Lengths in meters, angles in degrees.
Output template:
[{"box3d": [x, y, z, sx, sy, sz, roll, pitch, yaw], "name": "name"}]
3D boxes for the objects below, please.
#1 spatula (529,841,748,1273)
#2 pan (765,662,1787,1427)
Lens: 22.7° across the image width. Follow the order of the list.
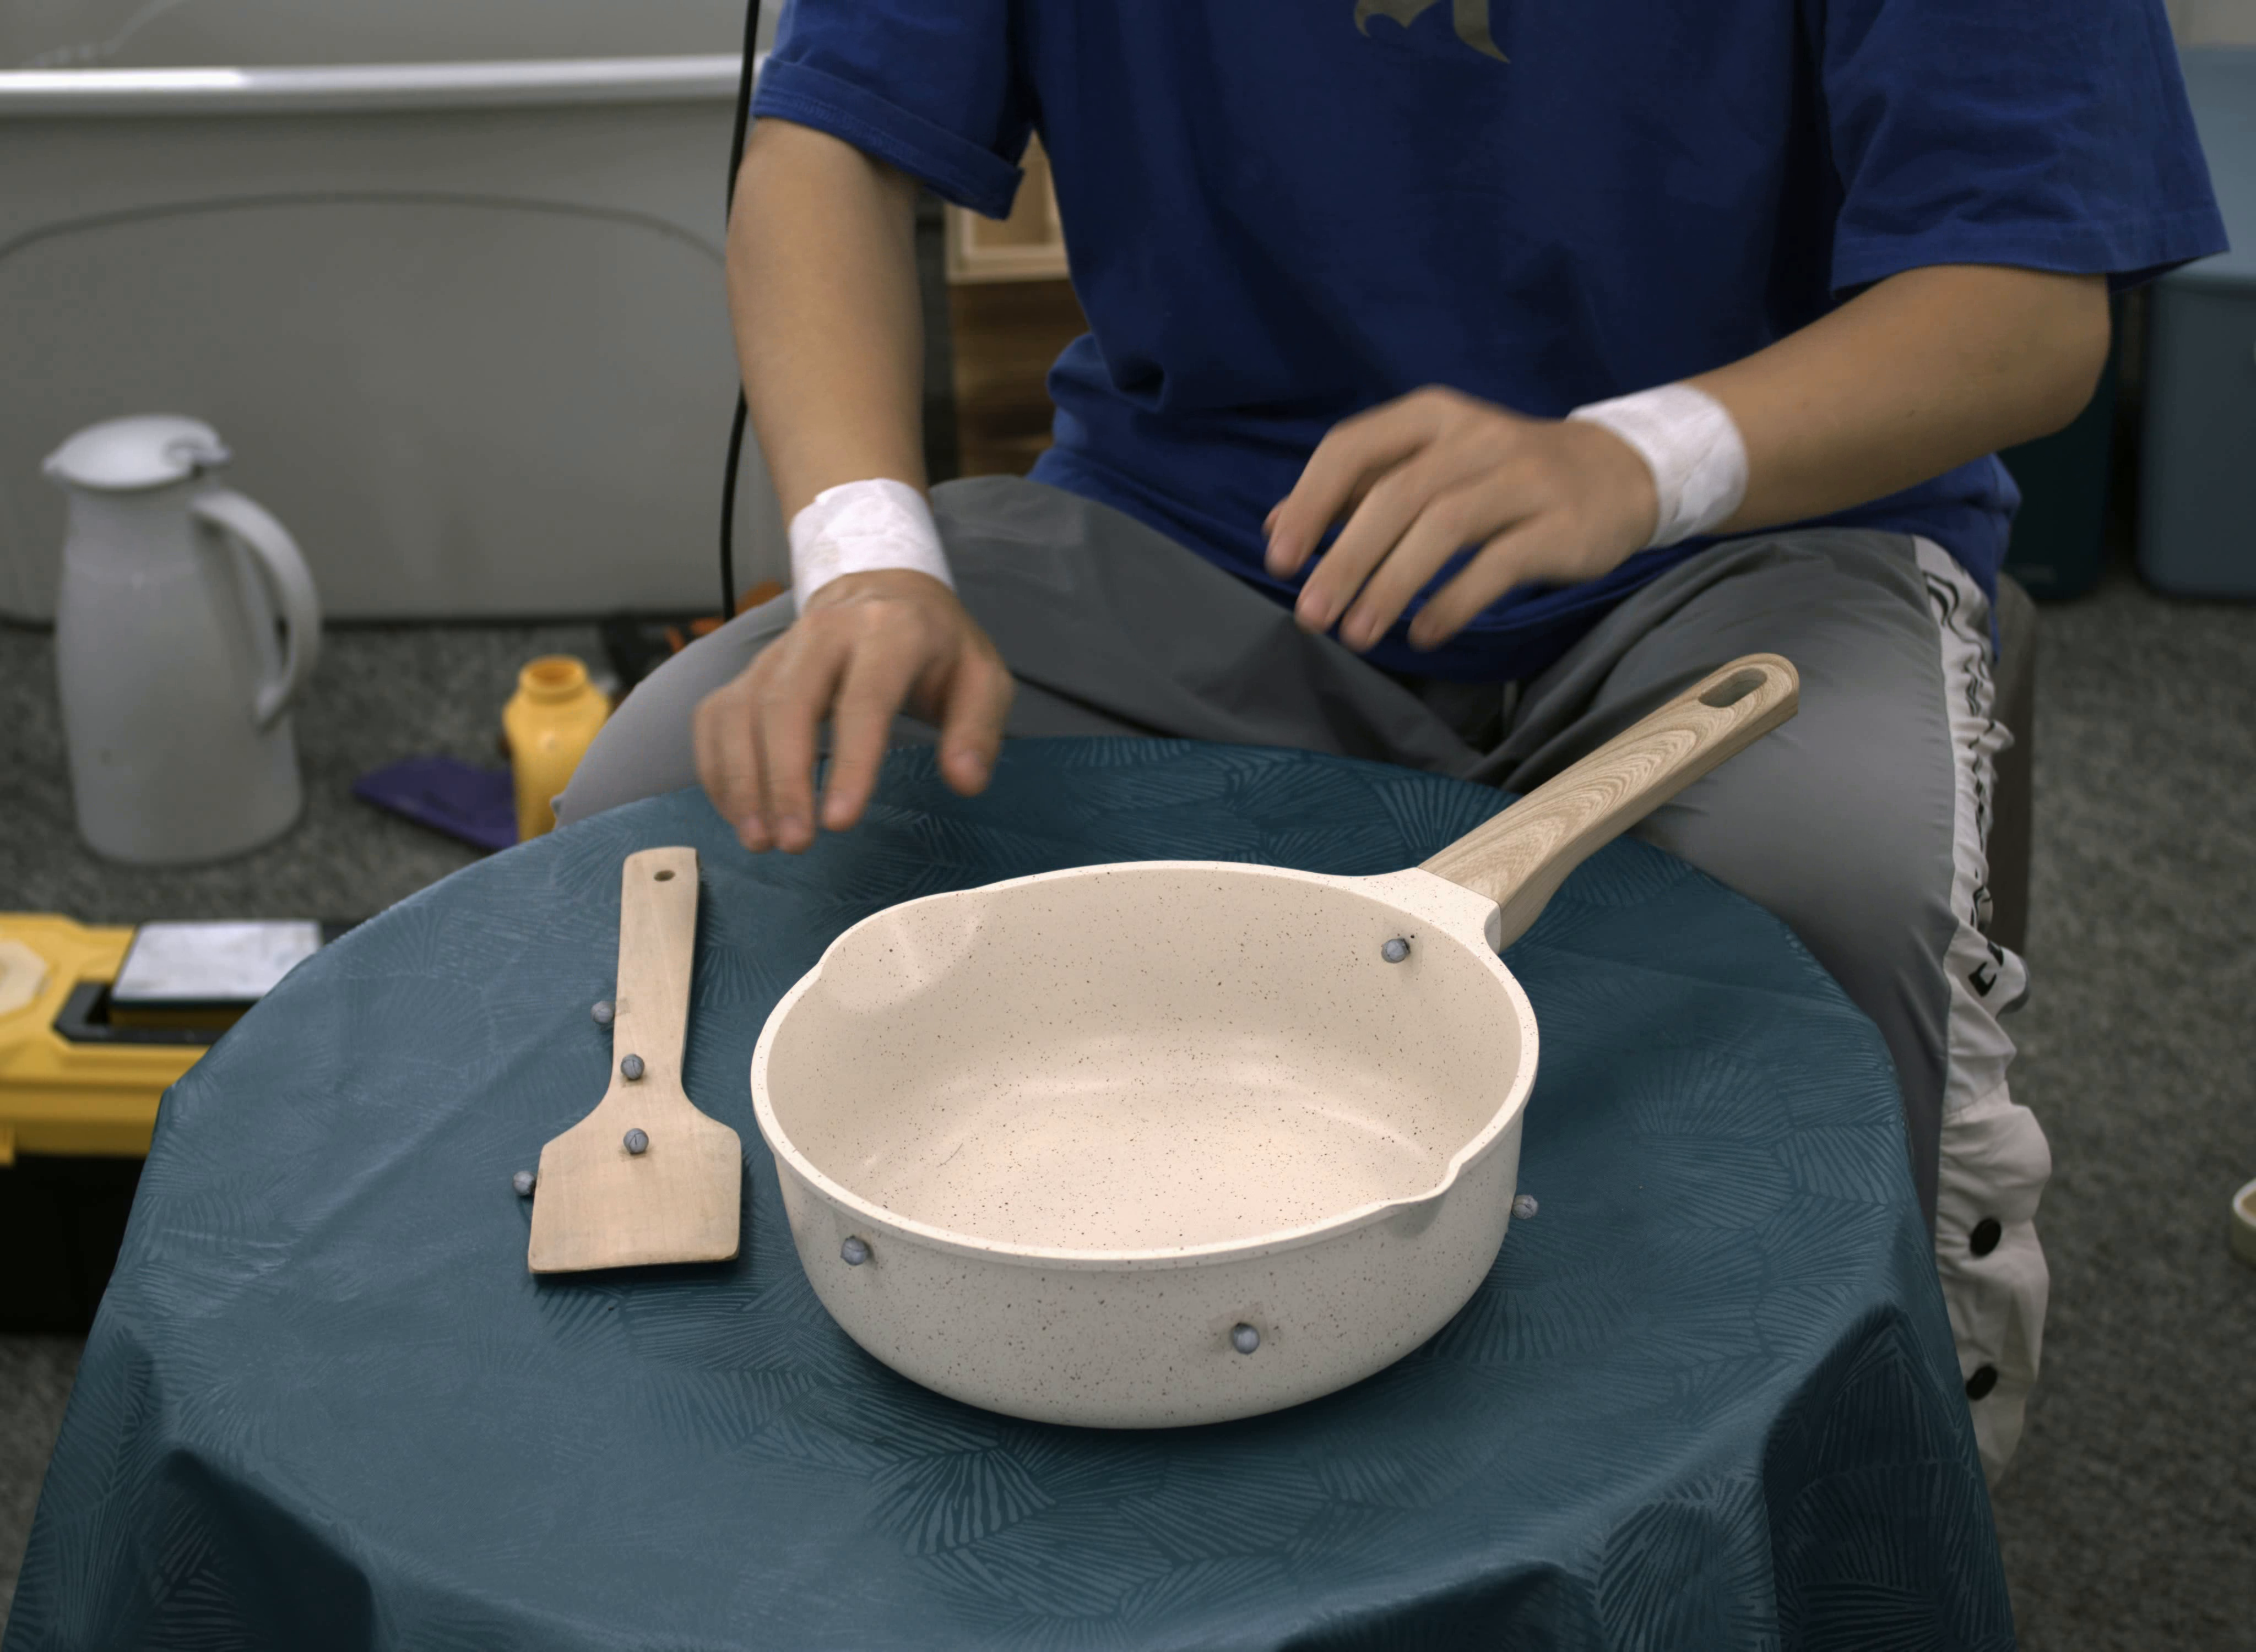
[{"box3d": [-0.166, 0.077, 1.954, 0.072, 0.010, 0.297, -4, 28, 0], "name": "spatula"}, {"box3d": [0.076, 0.066, 1.853, 0.263, 0.101, 0.440, 21, 35, 41], "name": "pan"}]
